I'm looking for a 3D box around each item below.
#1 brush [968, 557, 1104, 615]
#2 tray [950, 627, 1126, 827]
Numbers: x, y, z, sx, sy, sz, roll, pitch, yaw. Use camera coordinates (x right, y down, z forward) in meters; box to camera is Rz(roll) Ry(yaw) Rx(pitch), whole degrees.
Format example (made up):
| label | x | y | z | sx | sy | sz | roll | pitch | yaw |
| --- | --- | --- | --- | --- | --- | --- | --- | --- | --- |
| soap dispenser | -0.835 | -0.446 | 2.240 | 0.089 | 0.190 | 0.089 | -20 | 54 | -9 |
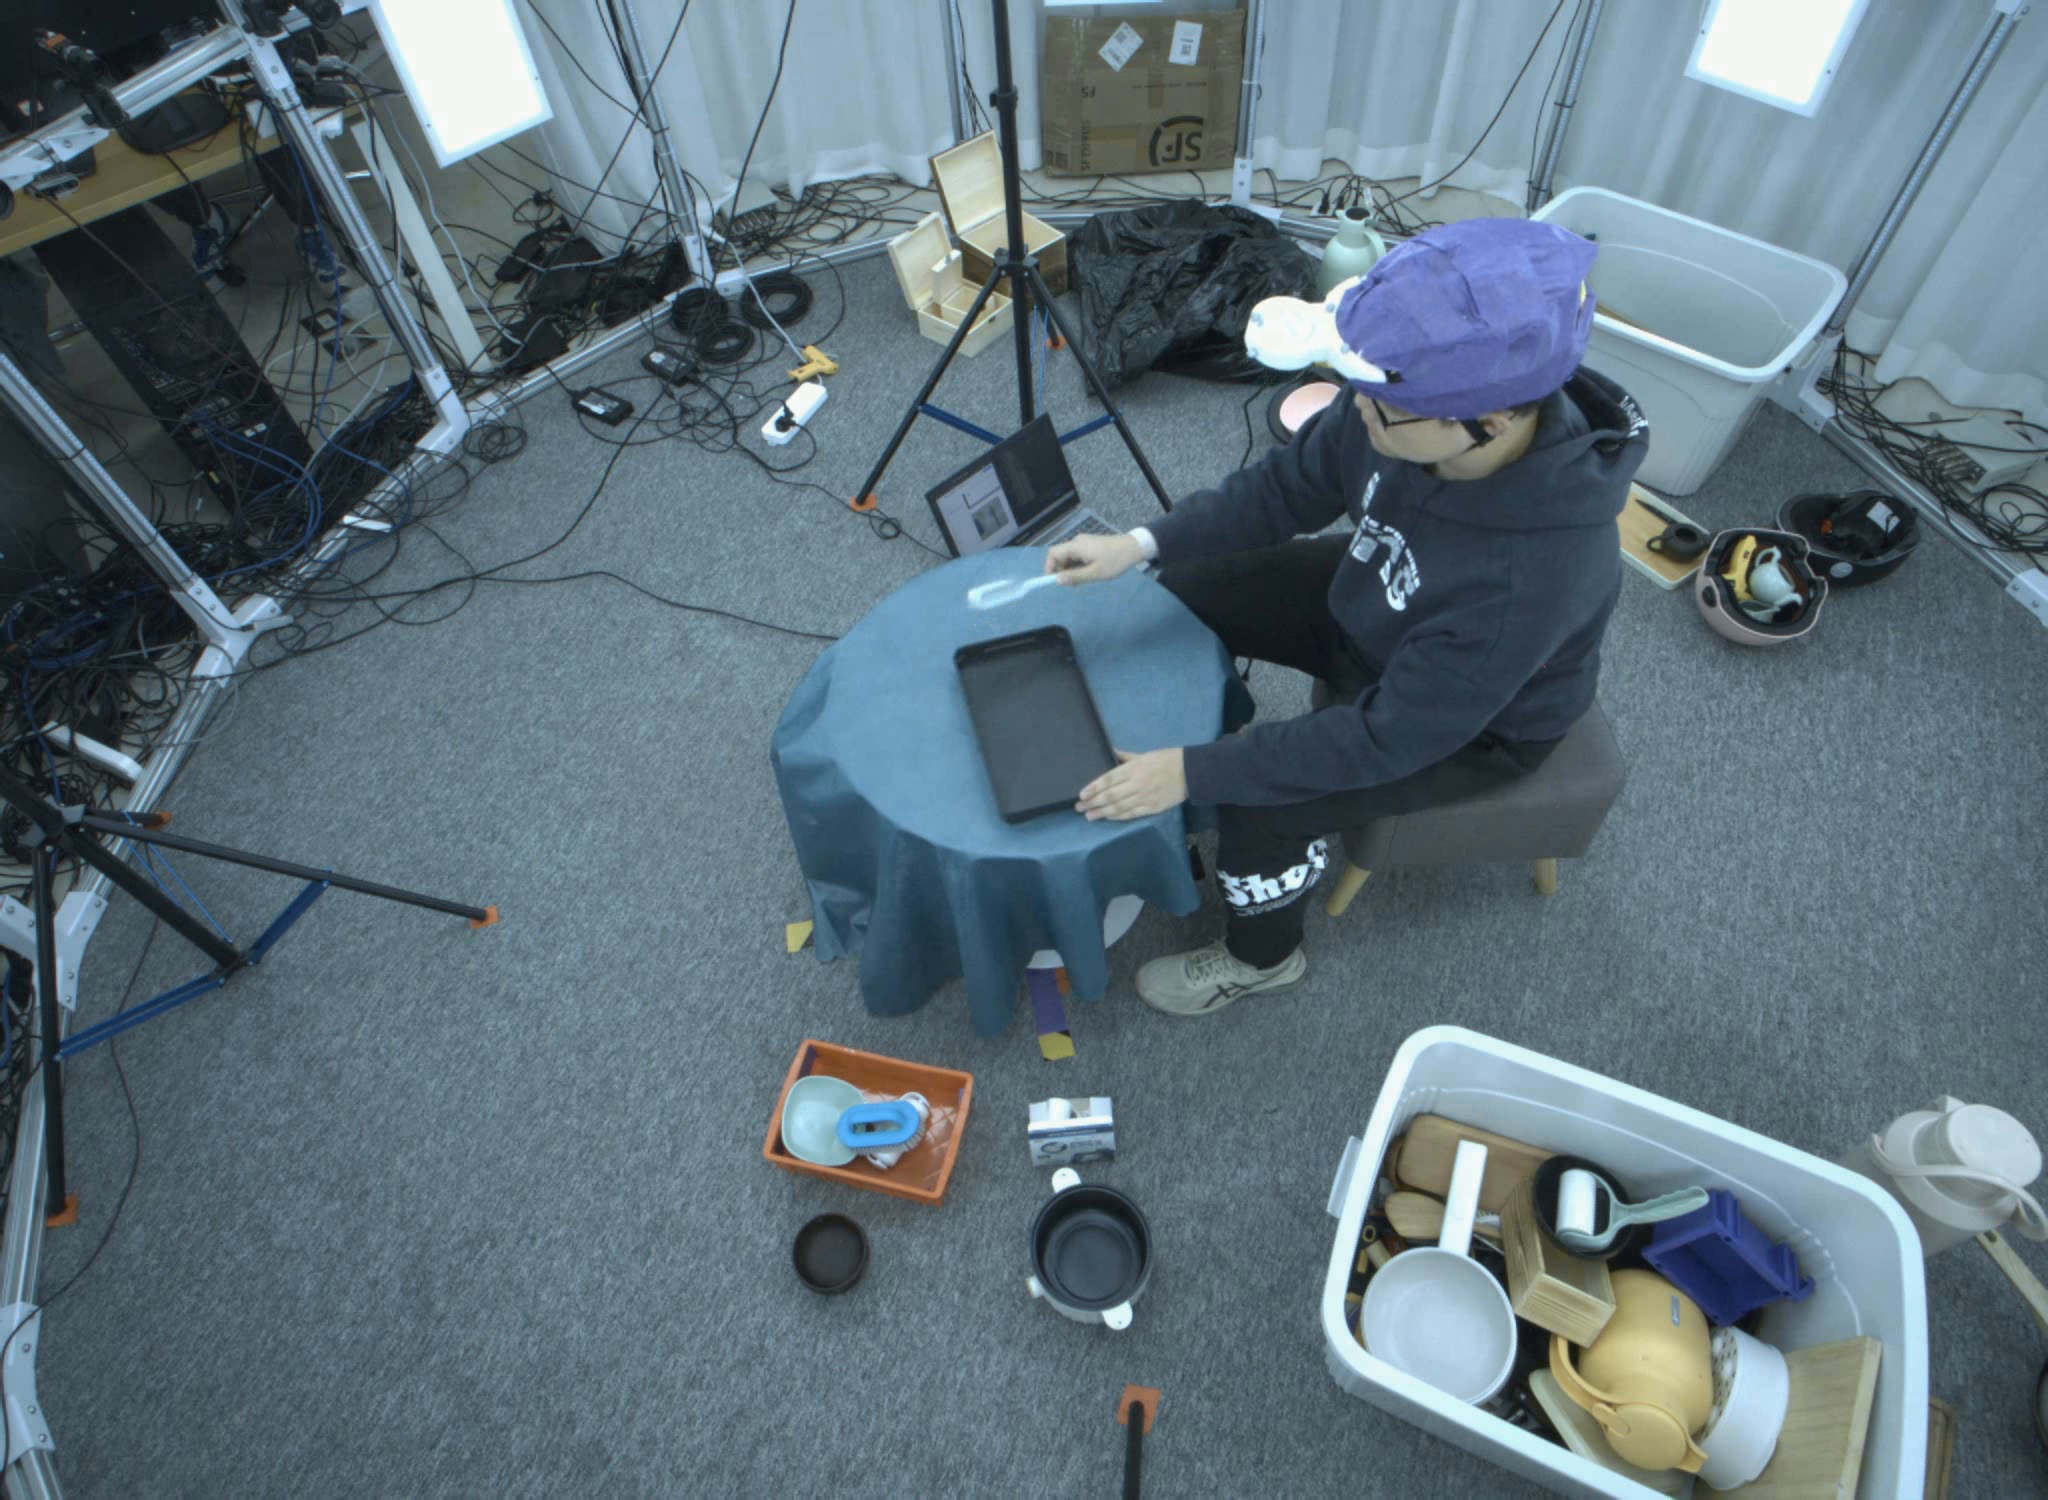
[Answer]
| label | x | y | z | sx | sy | sz | roll | pitch | yaw |
| --- | --- | --- | --- | --- | --- | --- | --- | --- | --- |
| brush | 0.020 | -0.248 | 1.822 | 0.231 | 0.049 | 0.038 | -22 | 101 | -23 |
| tray | 0.016 | -0.040 | 1.793 | 0.185 | 0.037 | 0.313 | -14 | 56 | -9 |
